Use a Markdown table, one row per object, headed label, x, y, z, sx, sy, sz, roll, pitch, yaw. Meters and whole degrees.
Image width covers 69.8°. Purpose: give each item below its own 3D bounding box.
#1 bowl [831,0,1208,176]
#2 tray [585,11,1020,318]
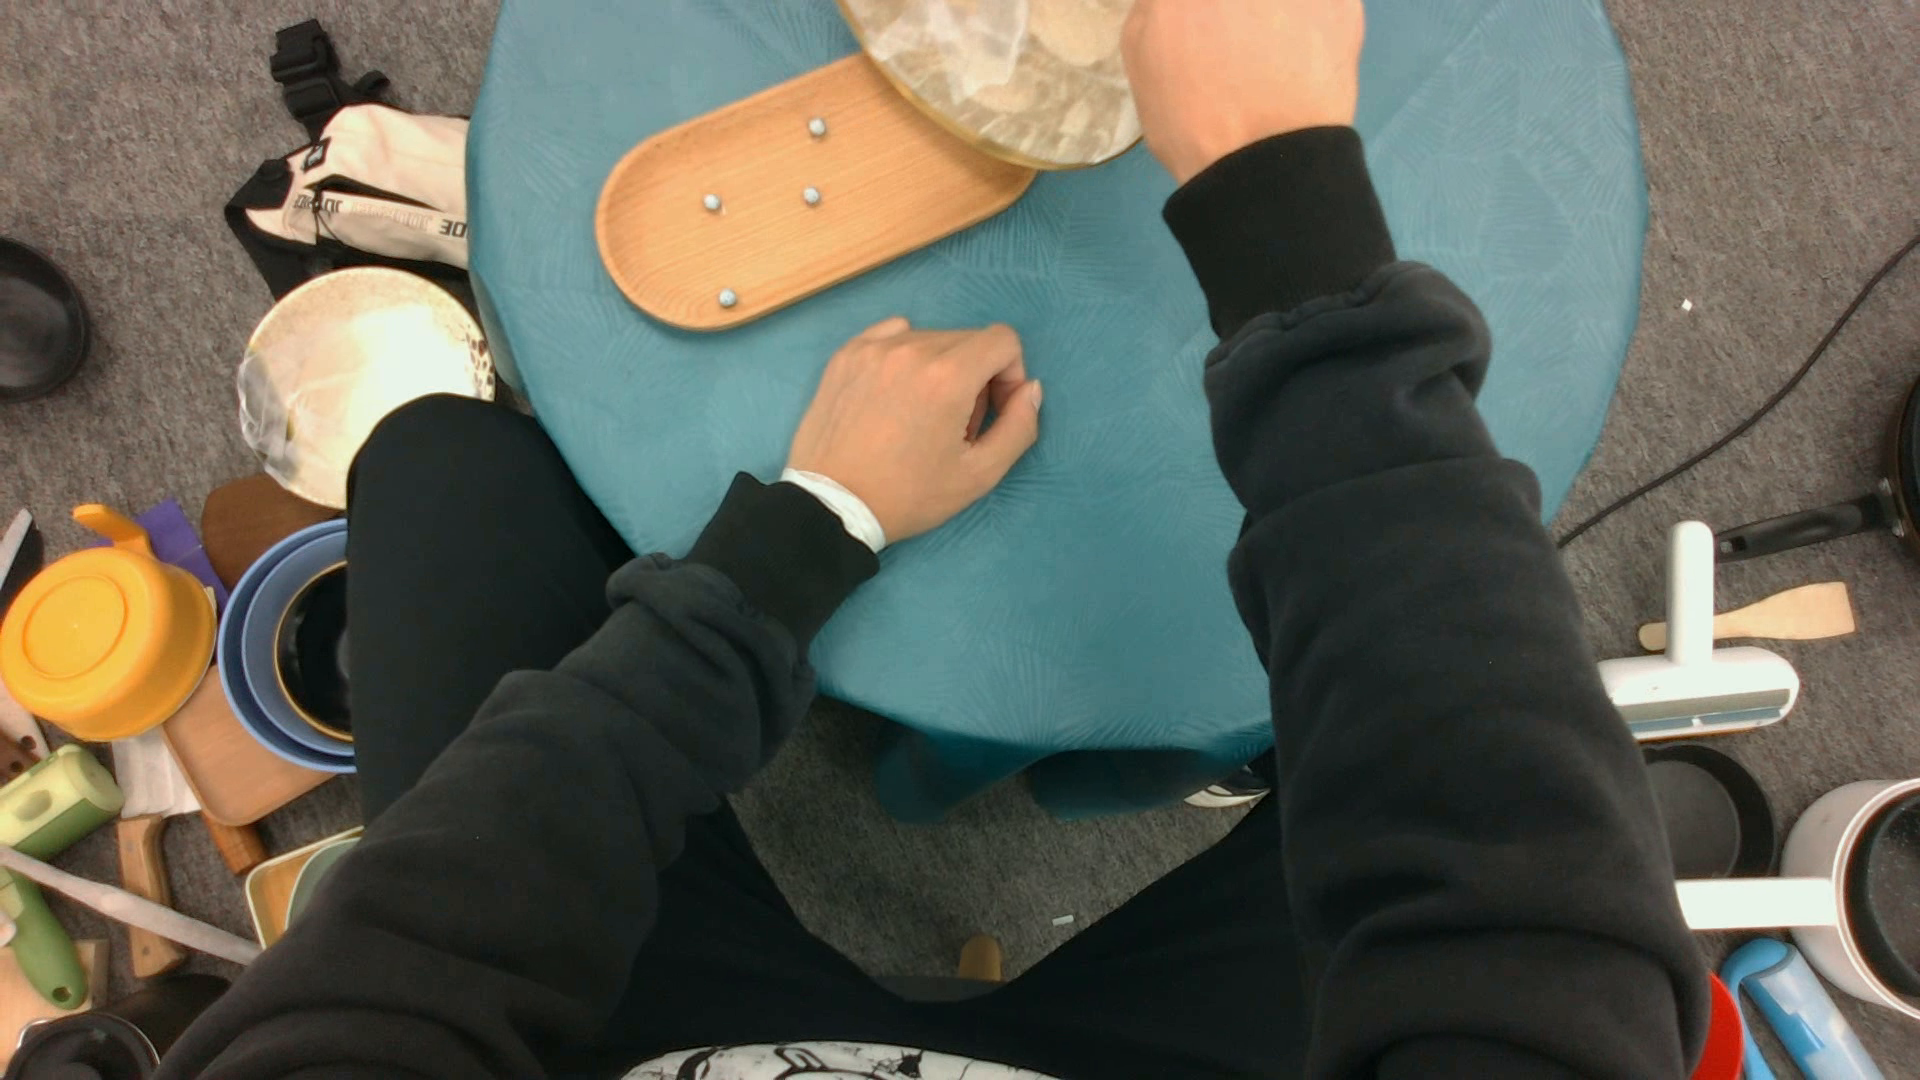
| label | x | y | z | sx | sy | sz | roll | pitch | yaw |
| --- | --- | --- | --- | --- | --- | --- | --- | --- | --- |
| bowl | 0.032 | -0.276 | 0.604 | 0.214 | 0.214 | 0.095 | 40 | 64 | 1 |
| tray | -0.072 | -0.186 | 0.682 | 0.231 | 0.020 | 0.102 | -26 | 87 | -10 |
